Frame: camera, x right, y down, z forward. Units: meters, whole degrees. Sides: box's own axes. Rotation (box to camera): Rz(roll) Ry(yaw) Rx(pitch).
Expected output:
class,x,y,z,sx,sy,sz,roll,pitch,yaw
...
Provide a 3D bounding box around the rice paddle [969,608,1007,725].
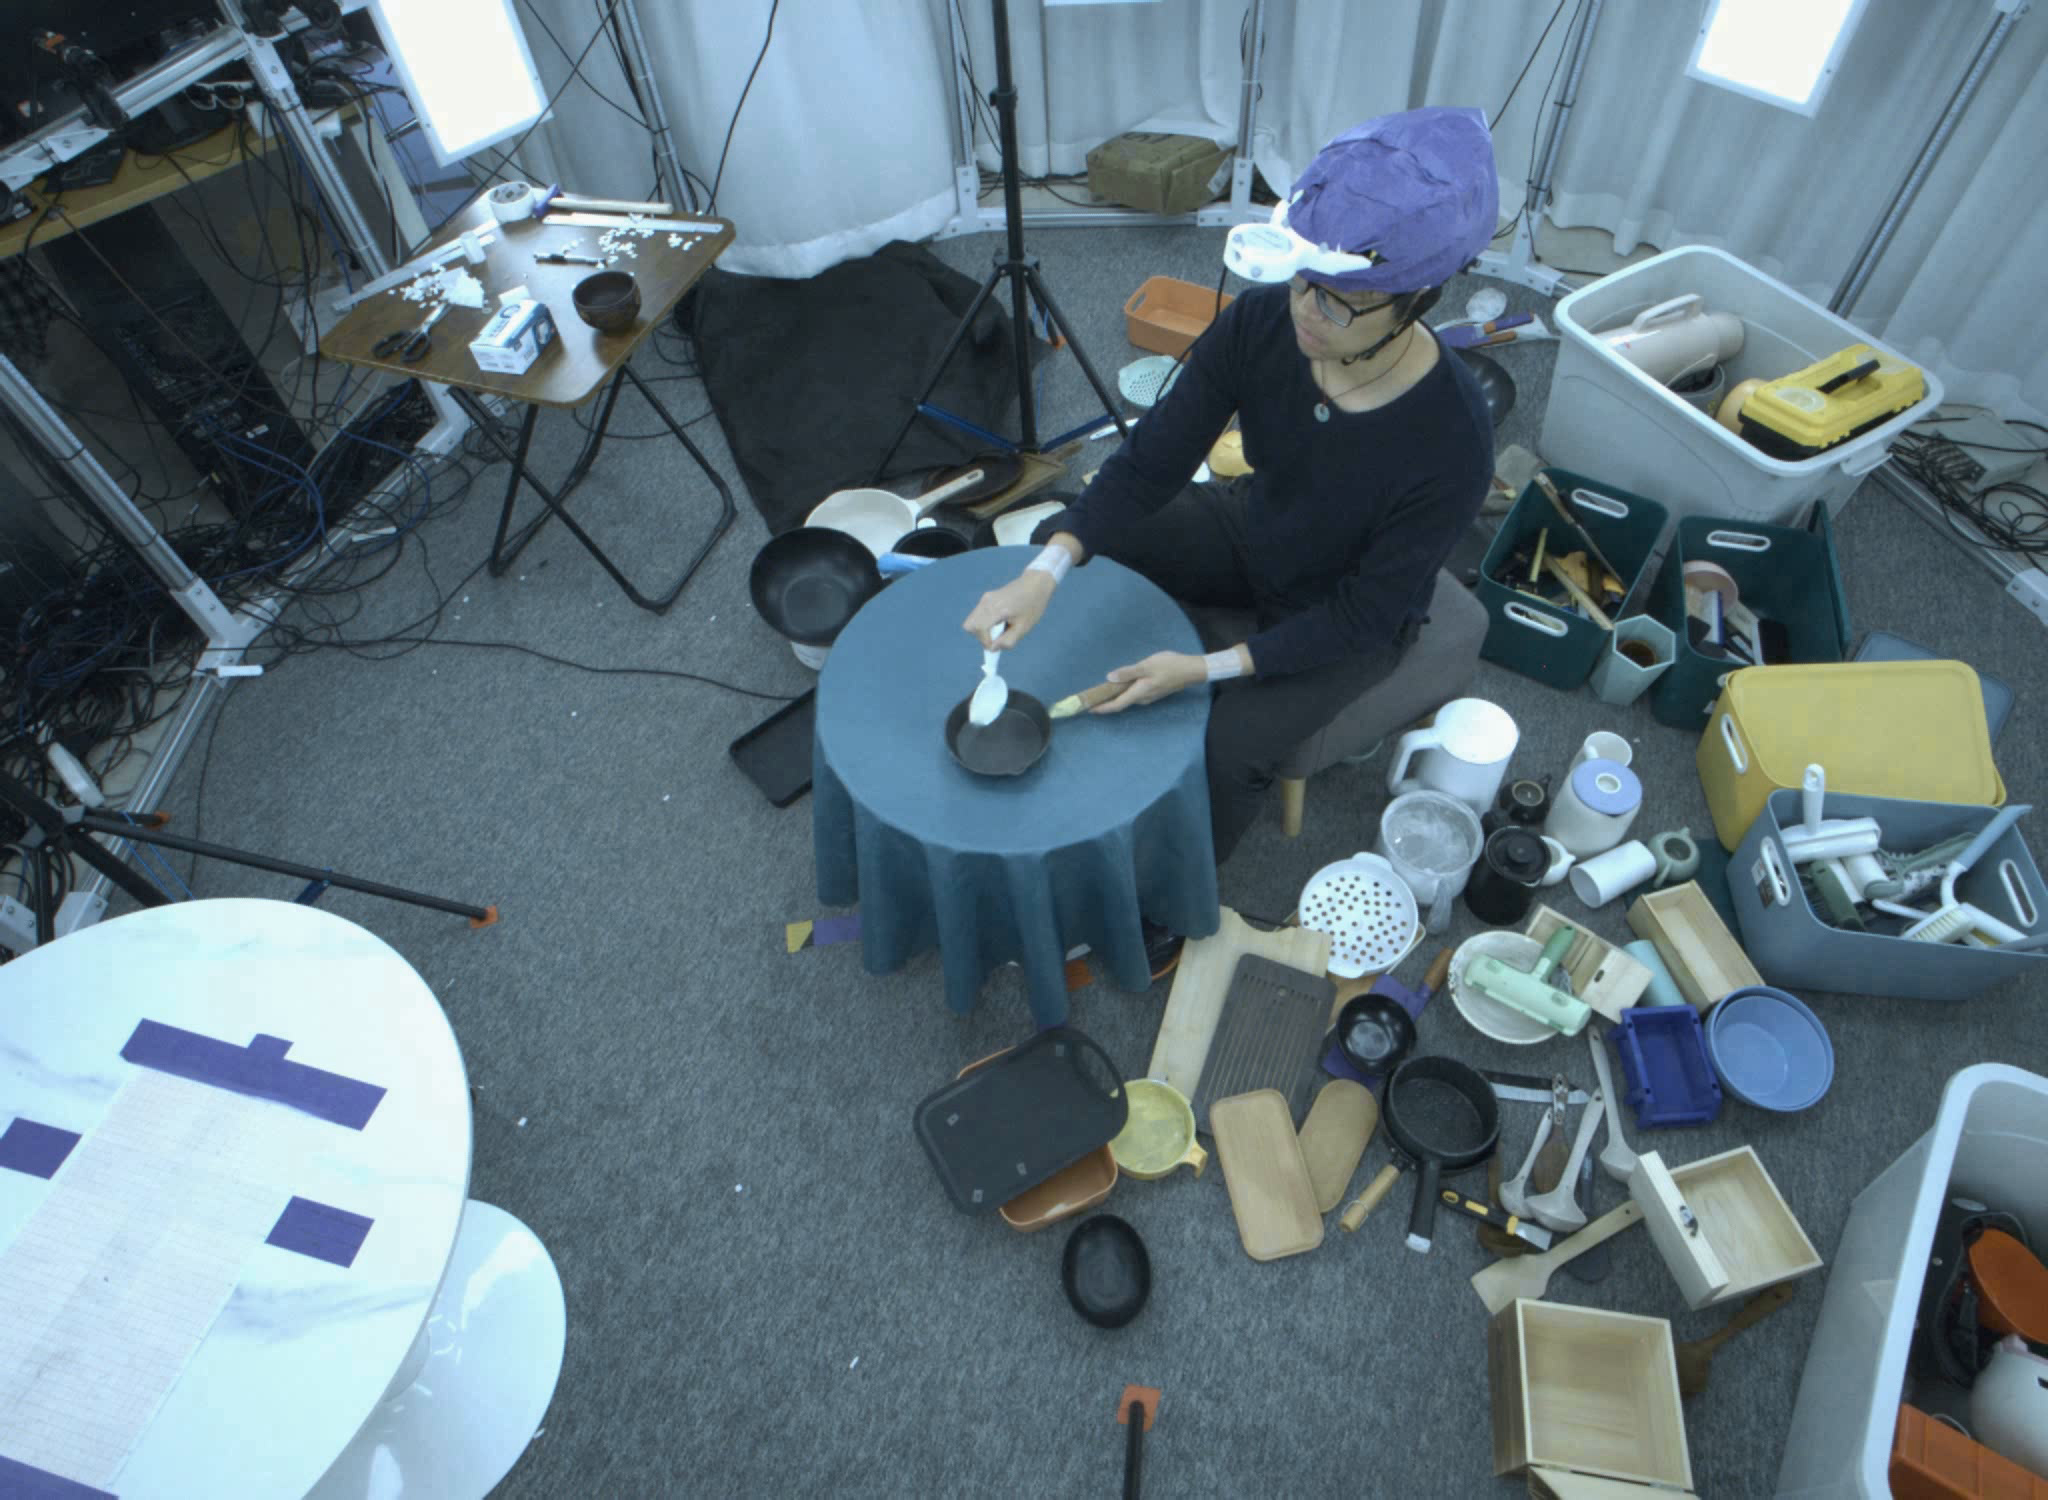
class,x,y,z,sx,sy,sz,roll,pitch,yaw
rice paddle,-0.049,-0.110,1.728,0.069,0.207,0.029,-29,53,-28

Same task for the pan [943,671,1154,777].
class,x,y,z,sx,sy,sz,roll,pitch,yaw
pan,0.041,-0.052,1.791,0.326,0.050,0.166,-19,56,-10
